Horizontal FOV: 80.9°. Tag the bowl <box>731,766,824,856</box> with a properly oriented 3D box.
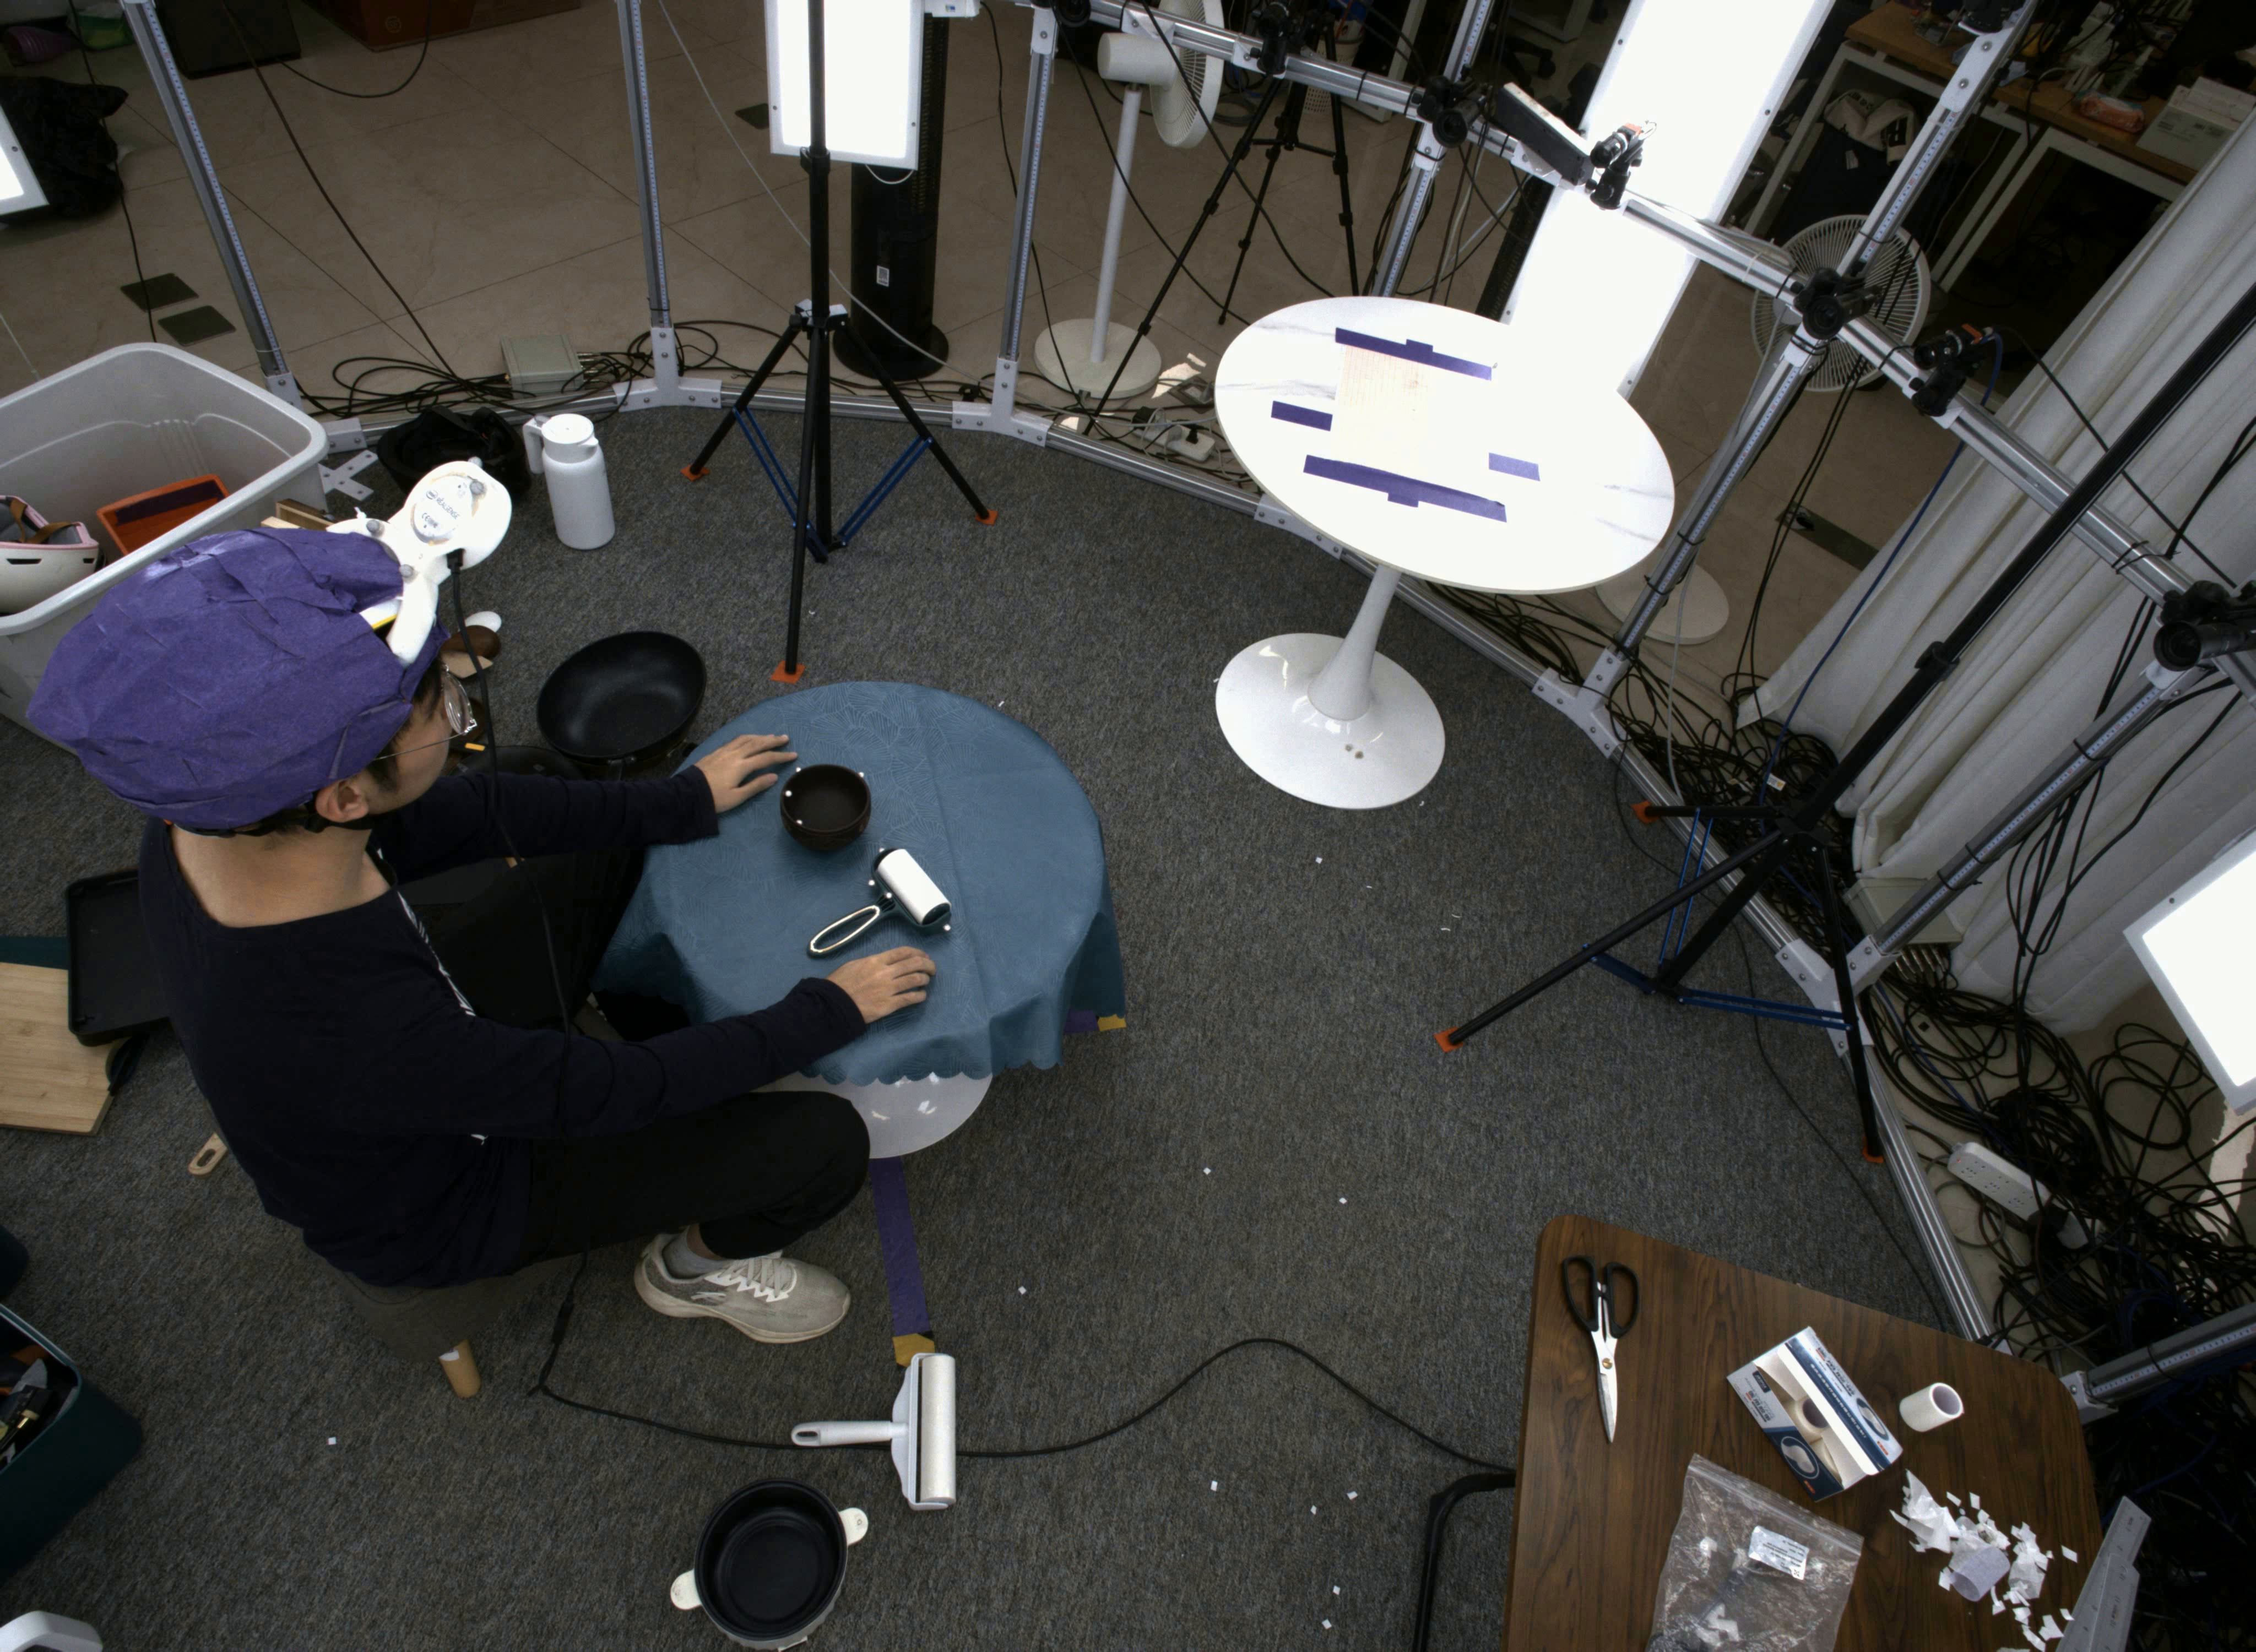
[{"bbox_3d":[-0.456,-0.013,1.690,0.118,0.071,0.116,7,55,-8],"label":"bowl"}]

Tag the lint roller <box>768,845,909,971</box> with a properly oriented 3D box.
[{"bbox_3d":[-0.379,0.116,1.635,0.180,0.049,0.131,-35,69,-29],"label":"lint roller"}]
